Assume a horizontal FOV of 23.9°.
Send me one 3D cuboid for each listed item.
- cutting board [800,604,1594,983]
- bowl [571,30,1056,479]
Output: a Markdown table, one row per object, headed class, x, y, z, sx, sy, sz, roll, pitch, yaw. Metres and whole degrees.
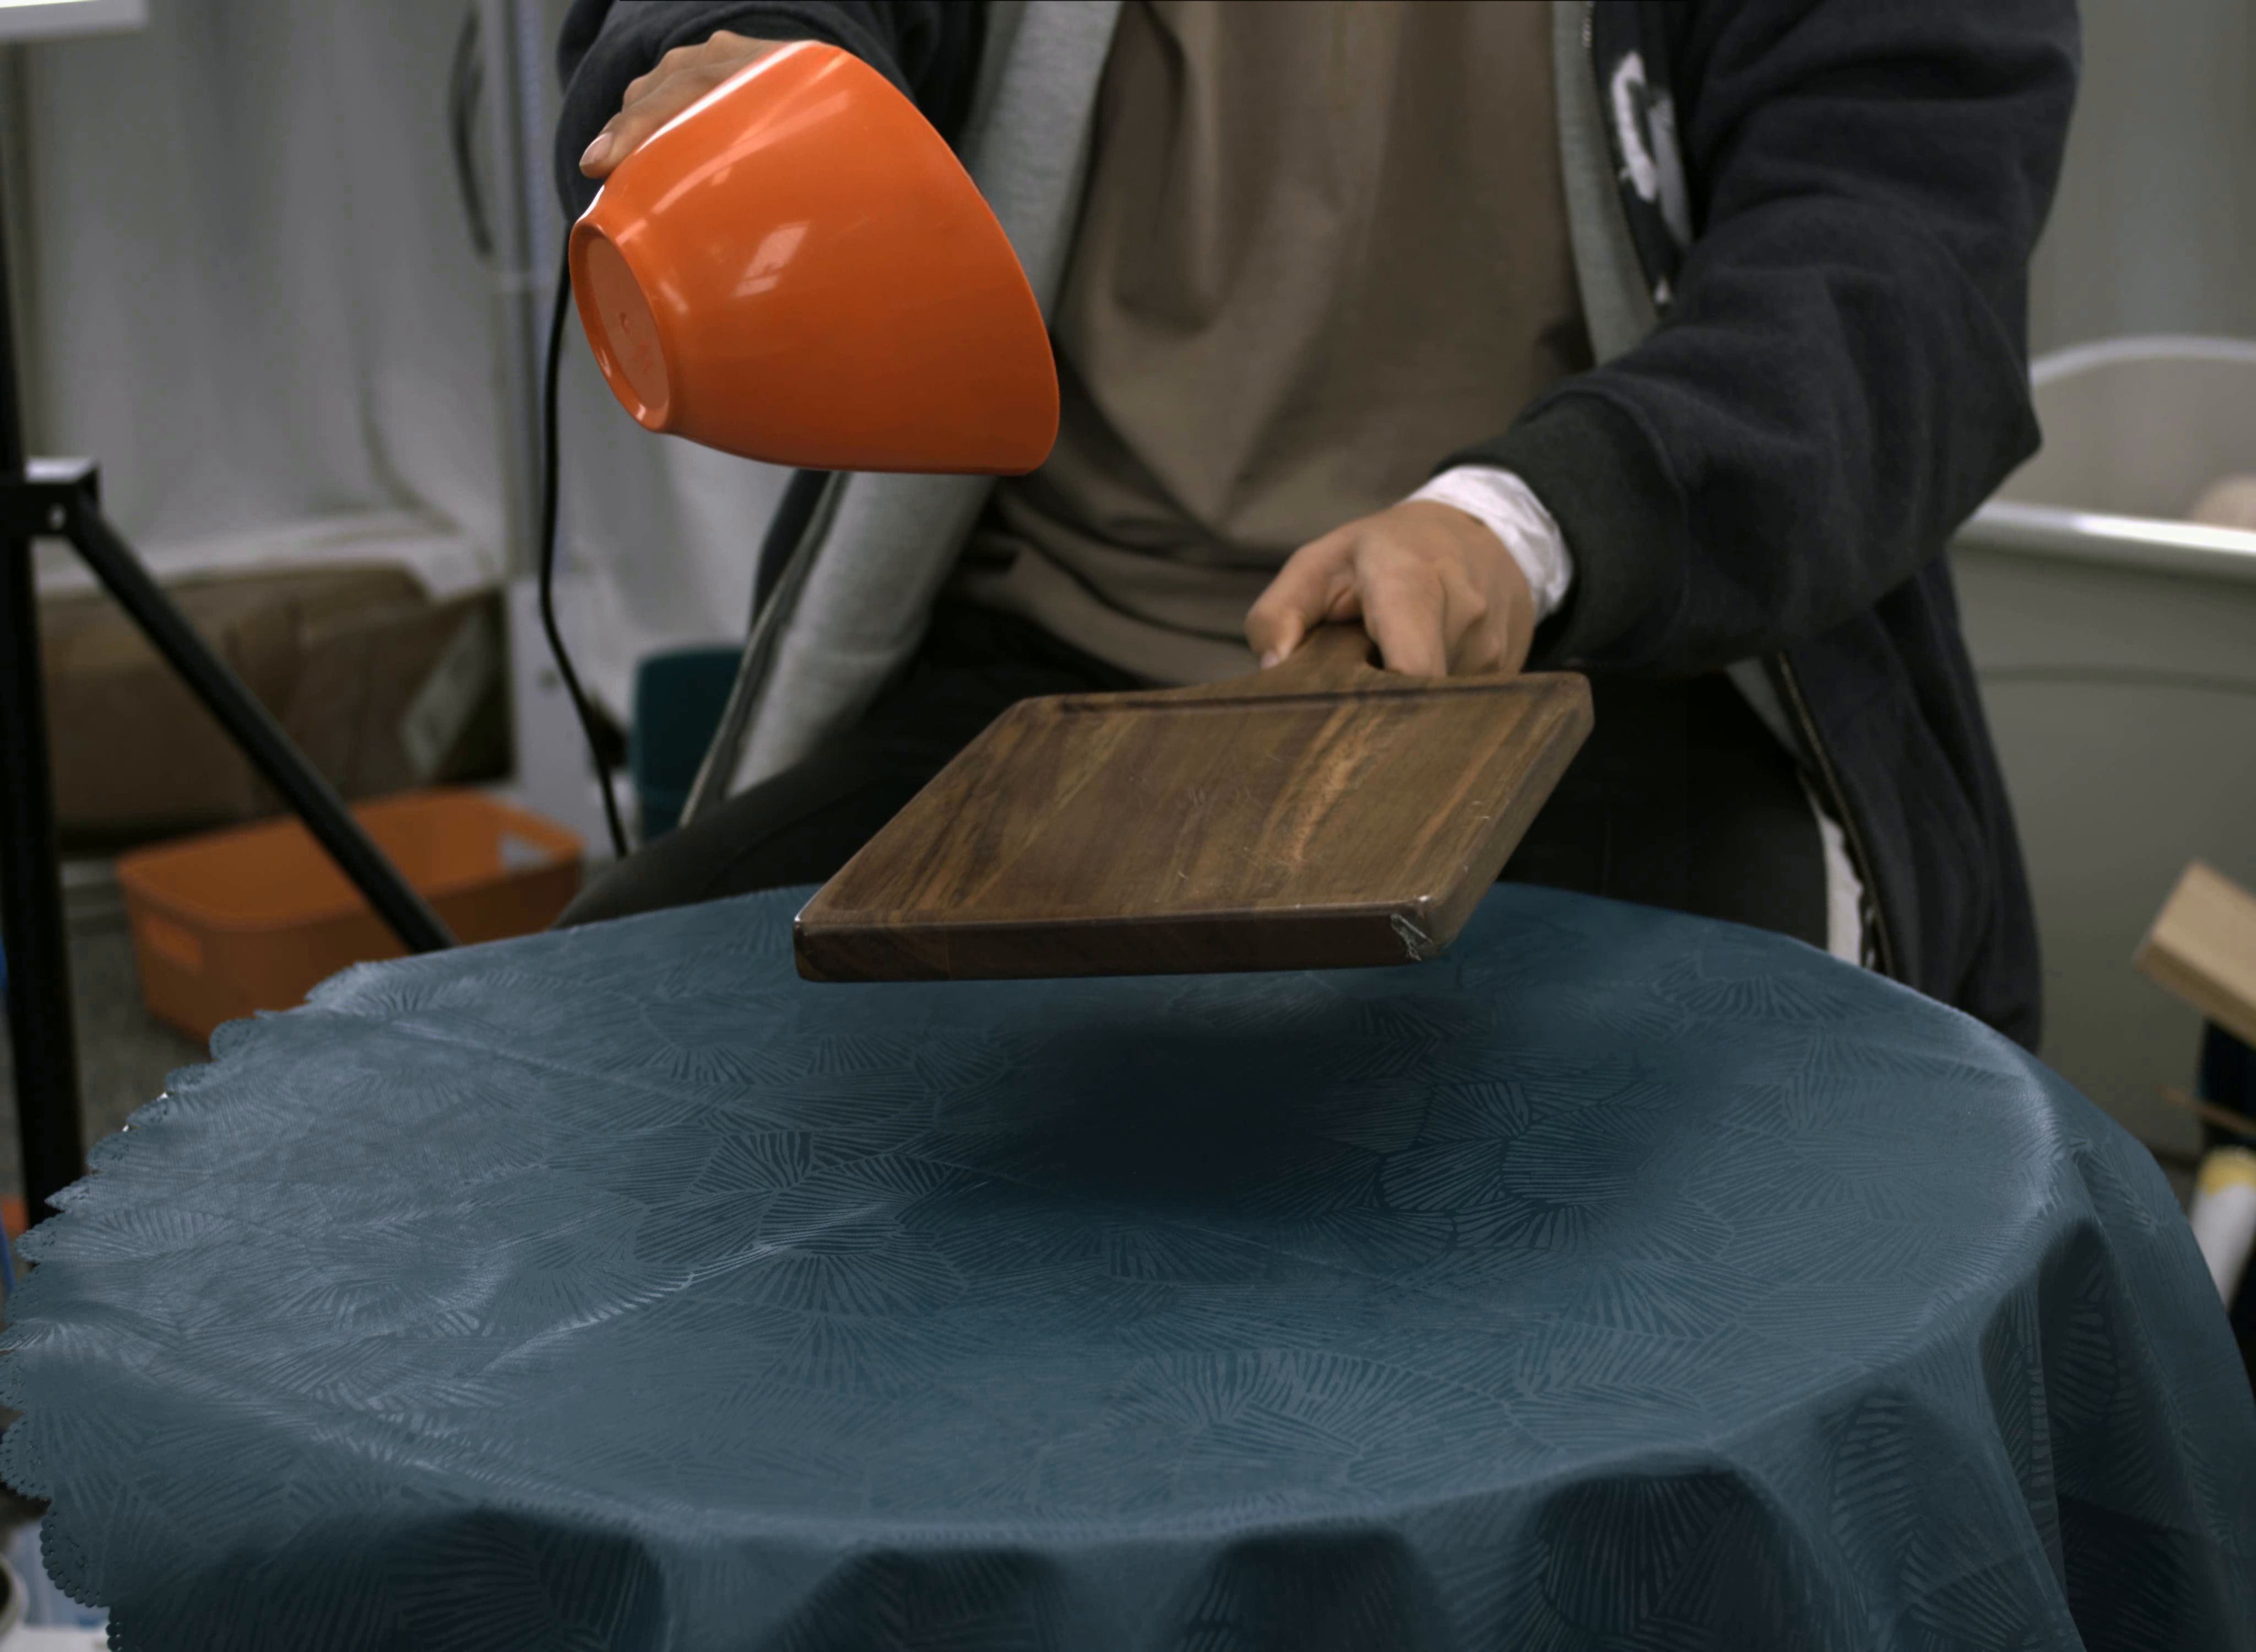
| class | x | y | z | sx | sy | sz | roll | pitch | yaw |
| --- | --- | --- | --- | --- | --- | --- | --- | --- | --- |
| cutting board | 0.039 | -0.016 | 1.667 | 0.203 | 0.023 | 0.349 | -3 | 16 | 17 |
| bowl | -0.101 | -0.157 | 1.594 | 0.103 | 0.147 | 0.151 | -22 | 22 | -20 |
